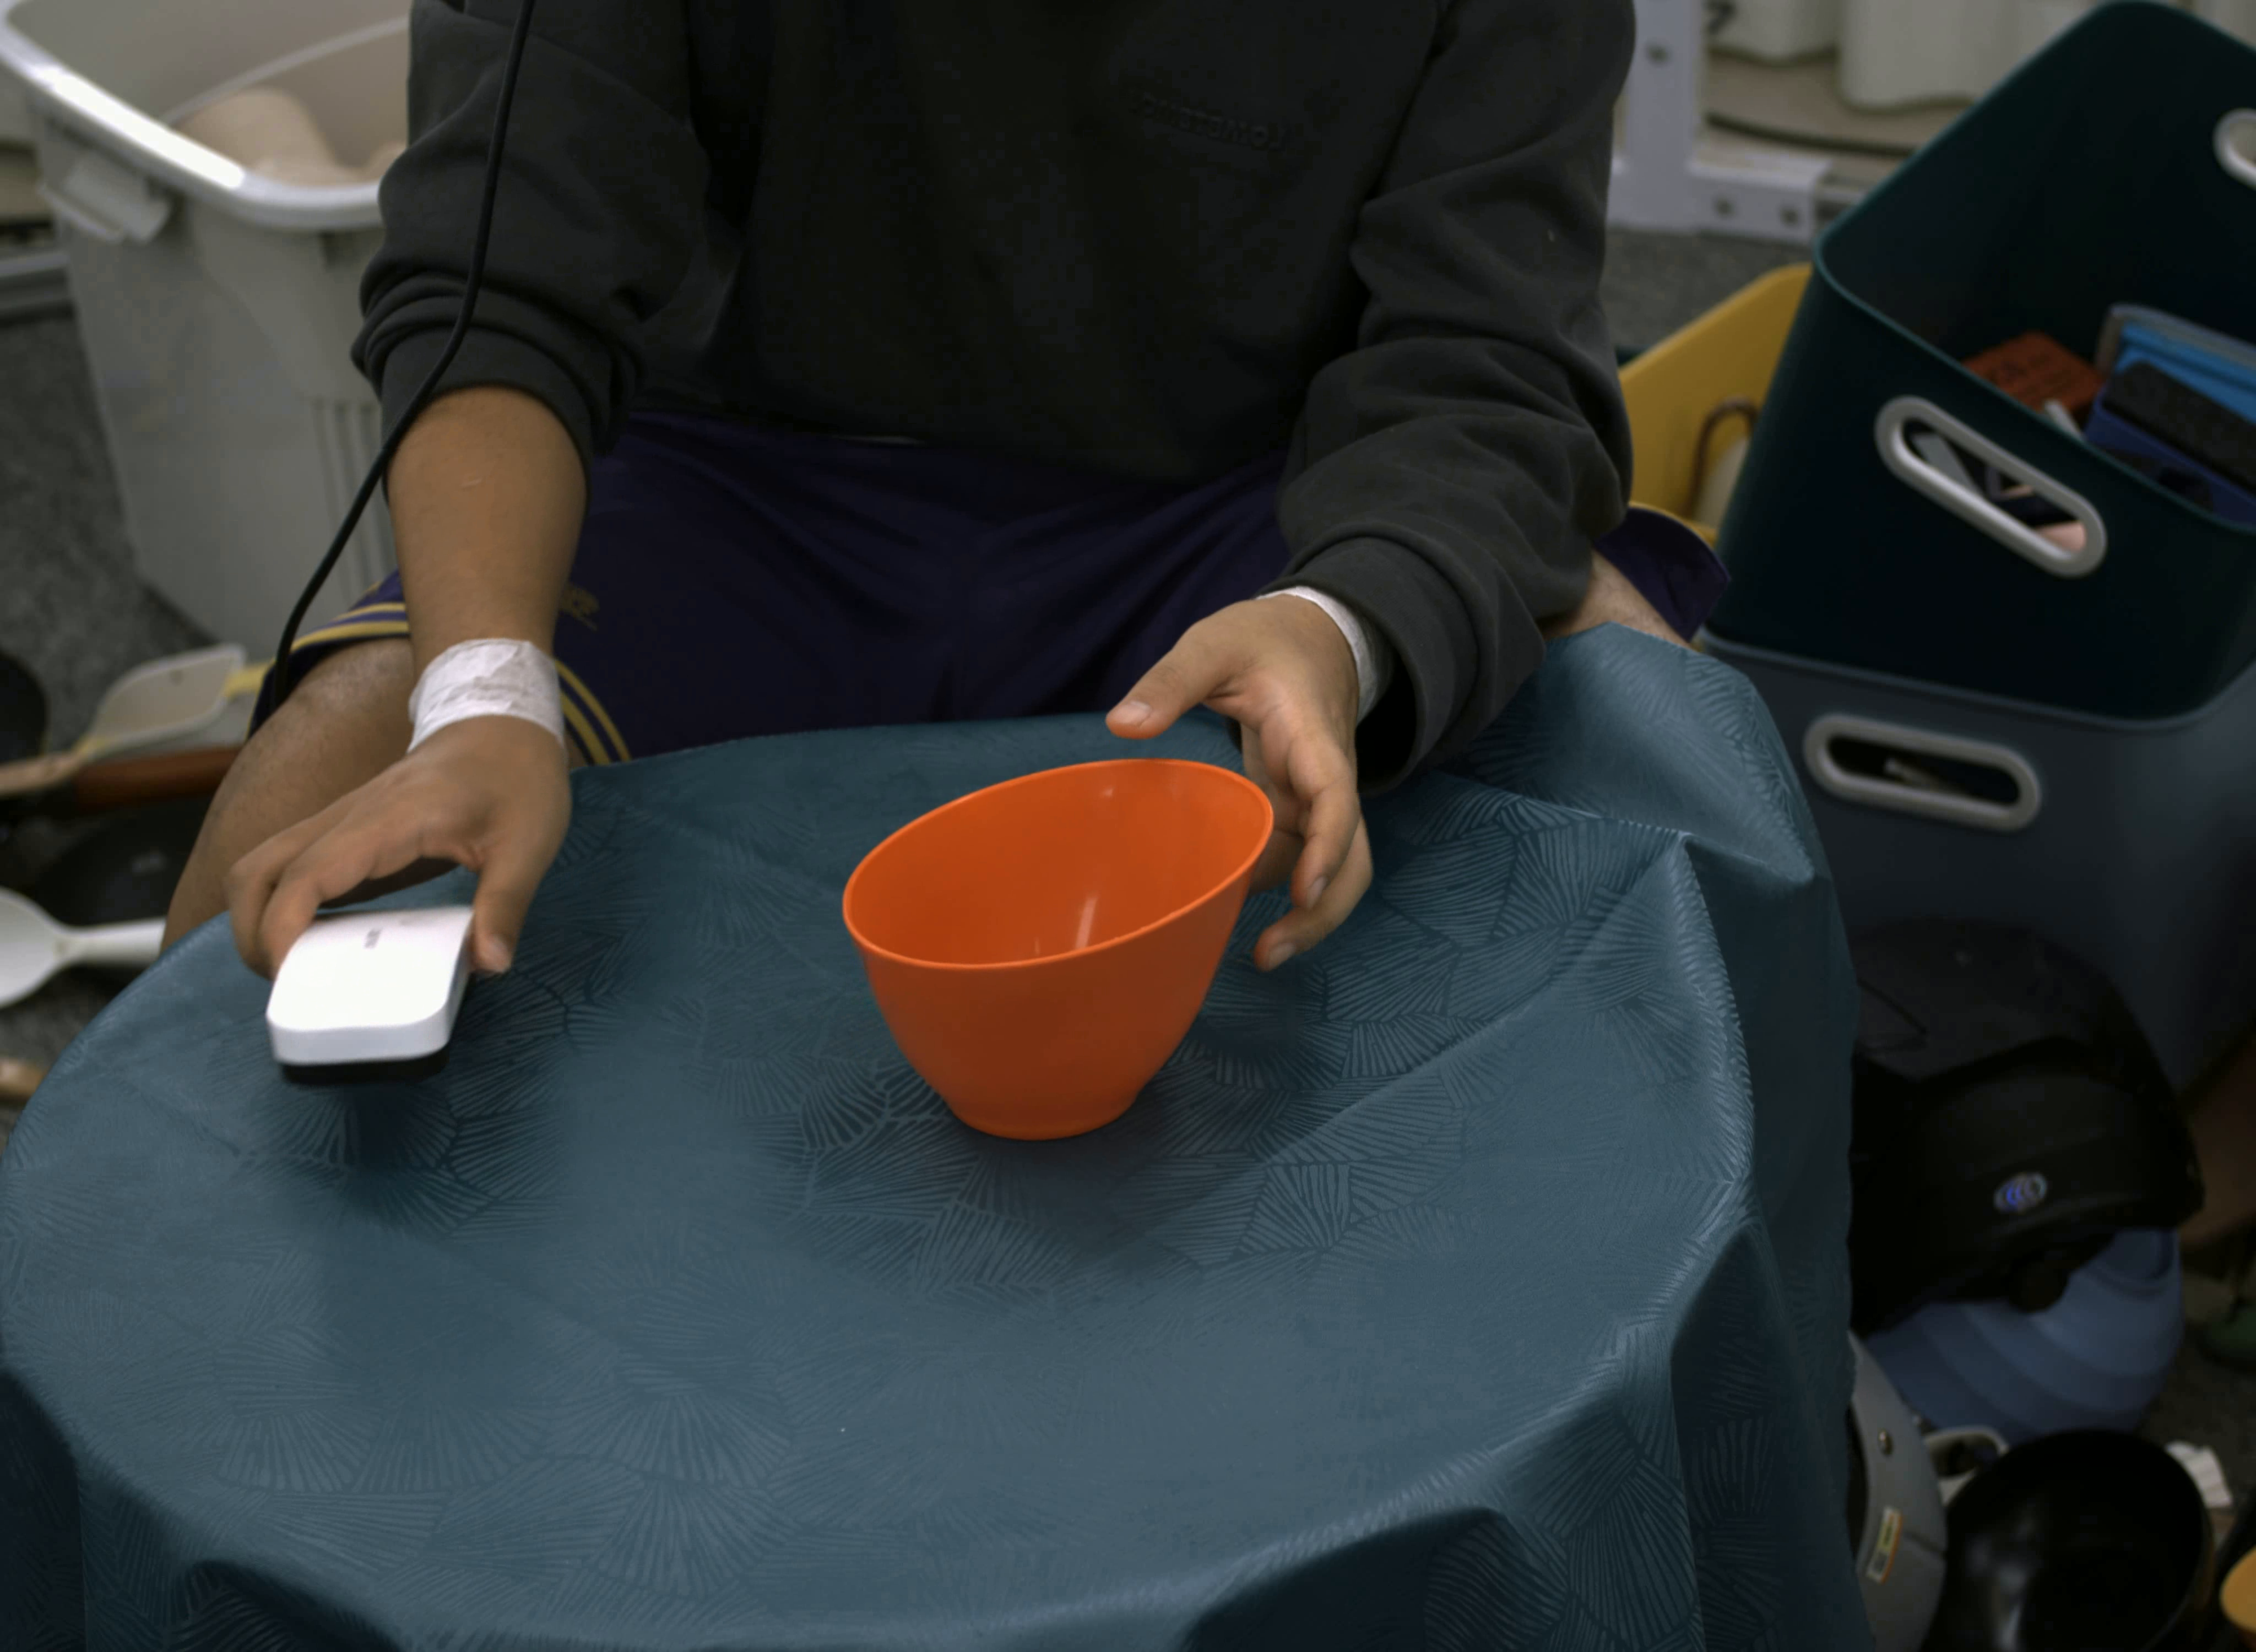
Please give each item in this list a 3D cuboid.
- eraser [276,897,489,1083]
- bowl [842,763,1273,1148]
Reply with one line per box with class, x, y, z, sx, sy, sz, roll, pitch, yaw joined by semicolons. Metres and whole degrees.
eraser;-0.253;0.052;1.927;0.063;0.034;0.132;-3;17;1
bowl;-0.022;0.049;1.898;0.147;0.103;0.150;-3;27;2
